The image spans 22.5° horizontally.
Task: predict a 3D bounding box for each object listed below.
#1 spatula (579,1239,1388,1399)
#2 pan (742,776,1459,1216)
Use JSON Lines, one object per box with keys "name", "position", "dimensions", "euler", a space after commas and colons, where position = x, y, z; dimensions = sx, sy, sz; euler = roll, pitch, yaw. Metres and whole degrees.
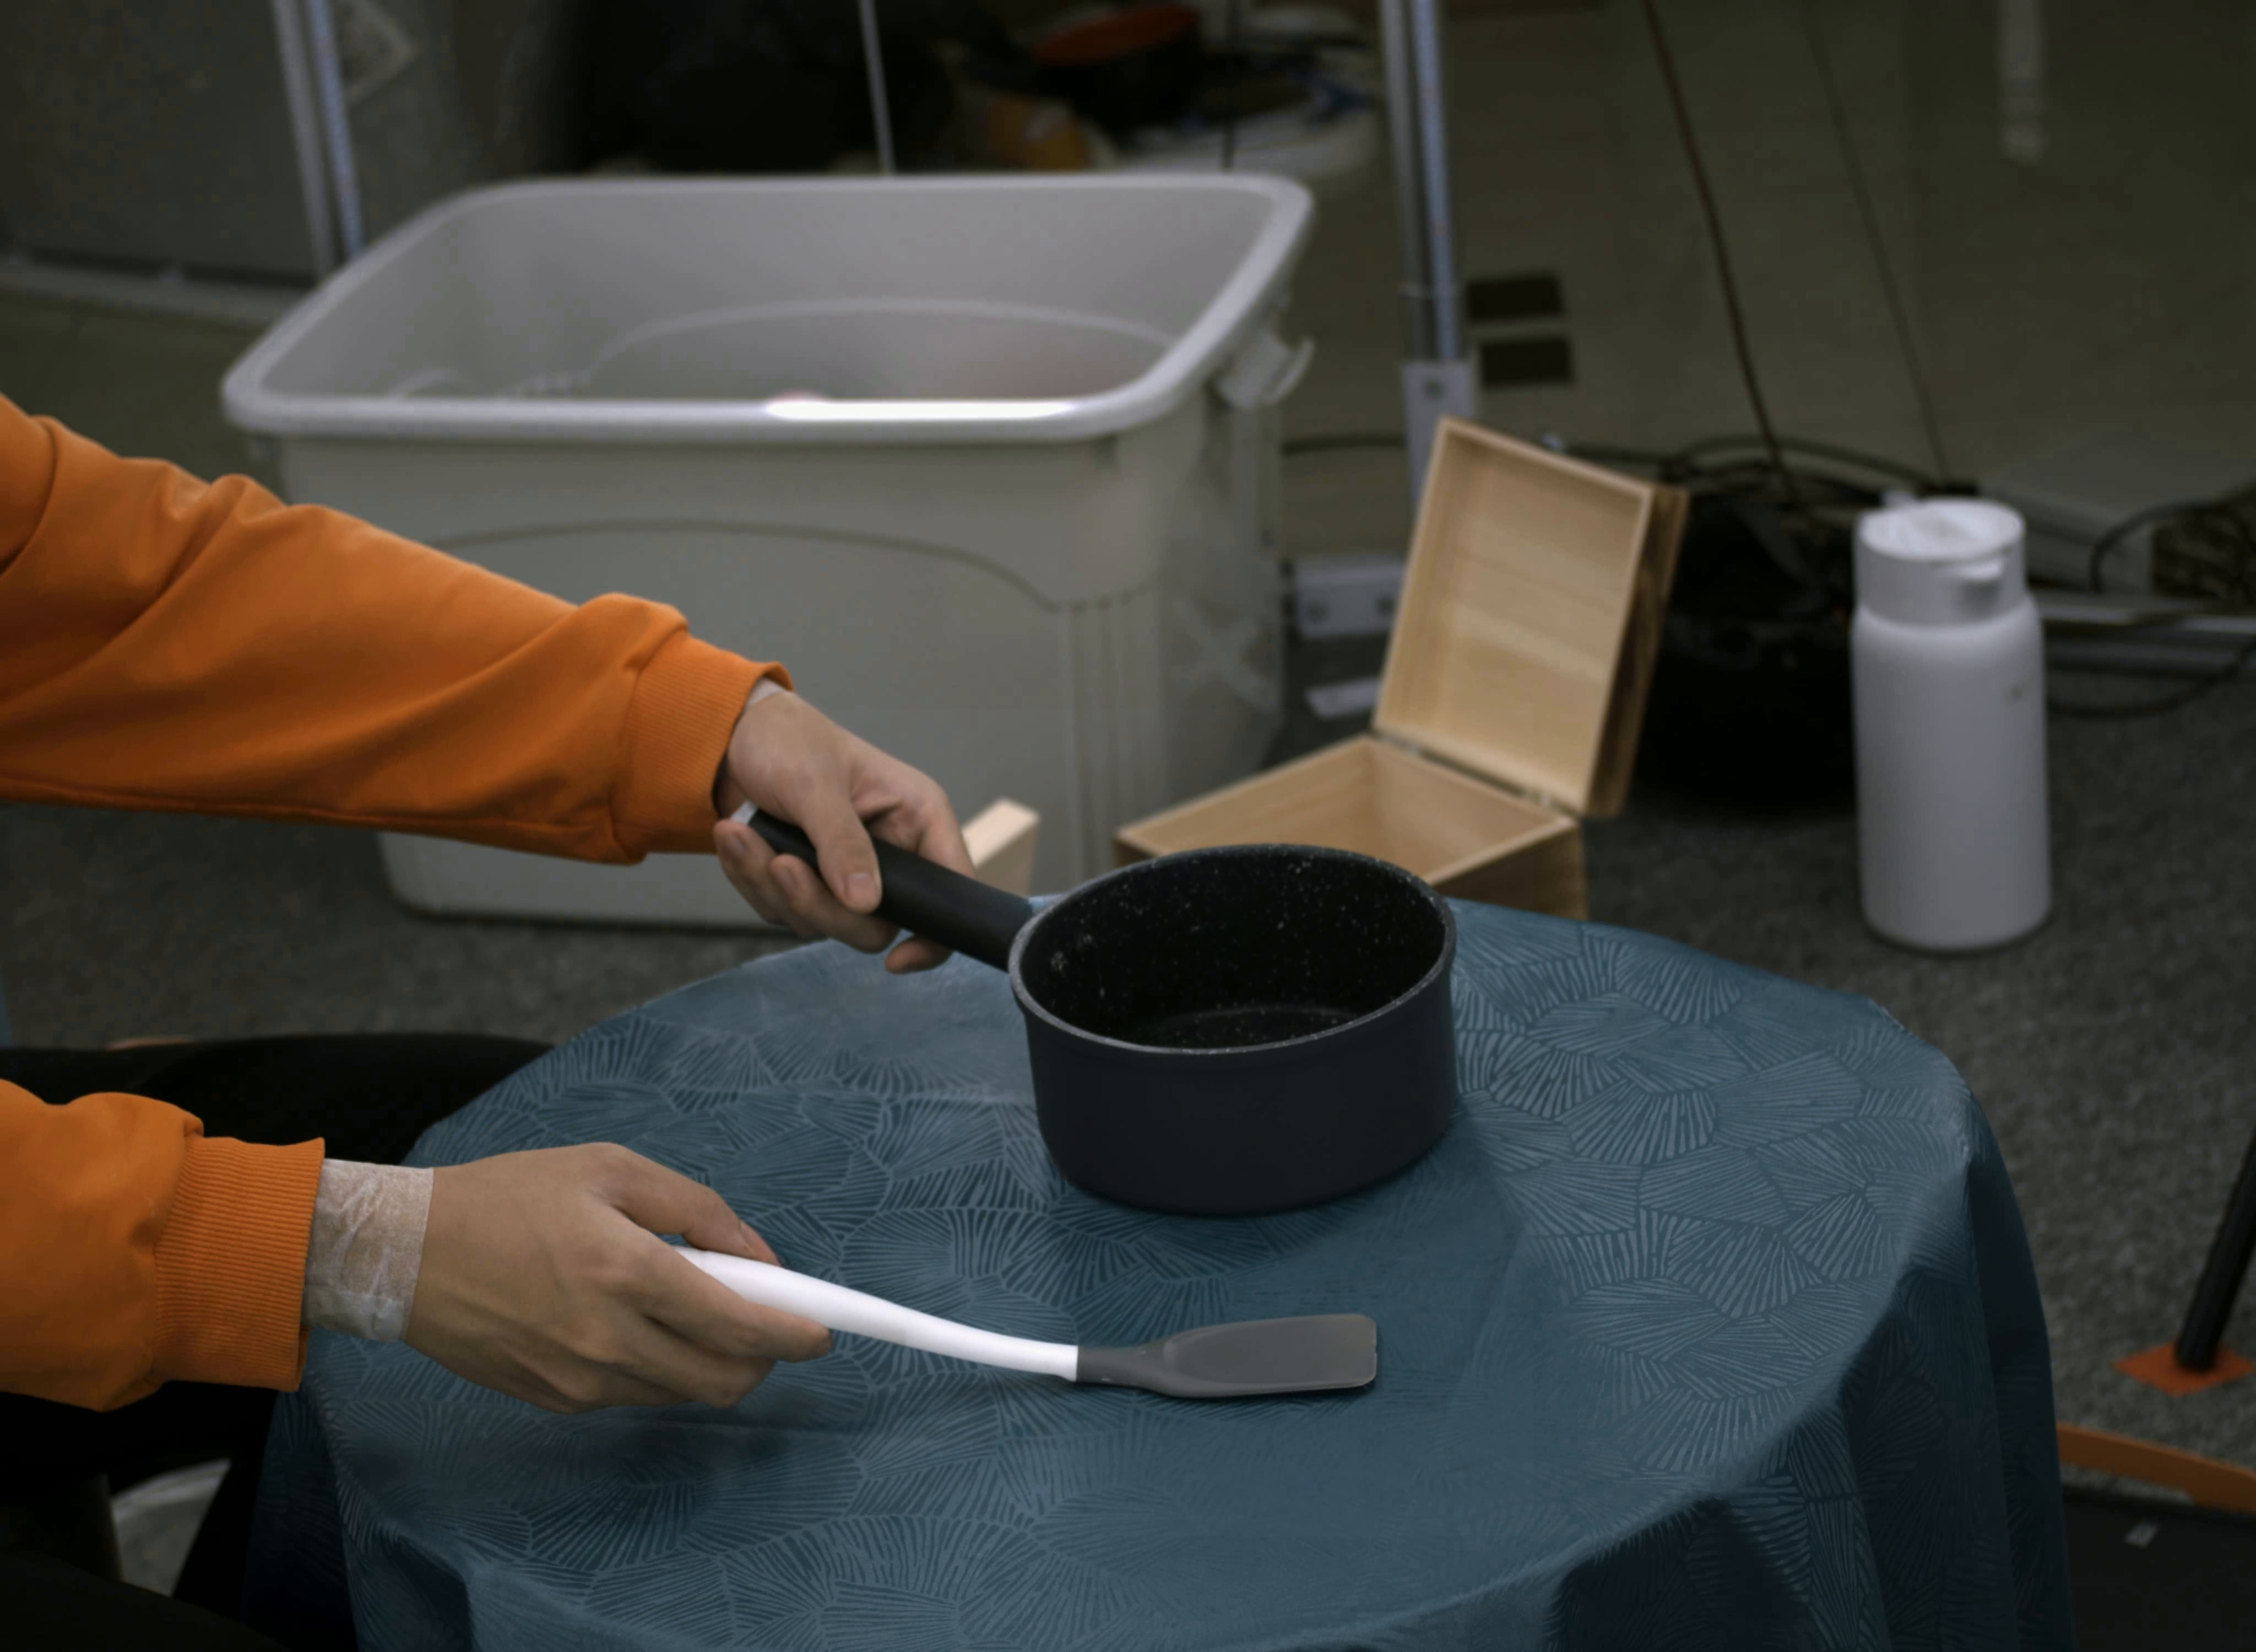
{"name": "spatula", "position": [-0.051, 0.178, 2.015], "dimensions": [0.287, 0.032, 0.058], "euler": [7, 21, -2]}
{"name": "pan", "position": [-0.019, 0.058, 2.215], "dimensions": [0.326, 0.088, 0.170], "euler": [17, 34, 35]}
